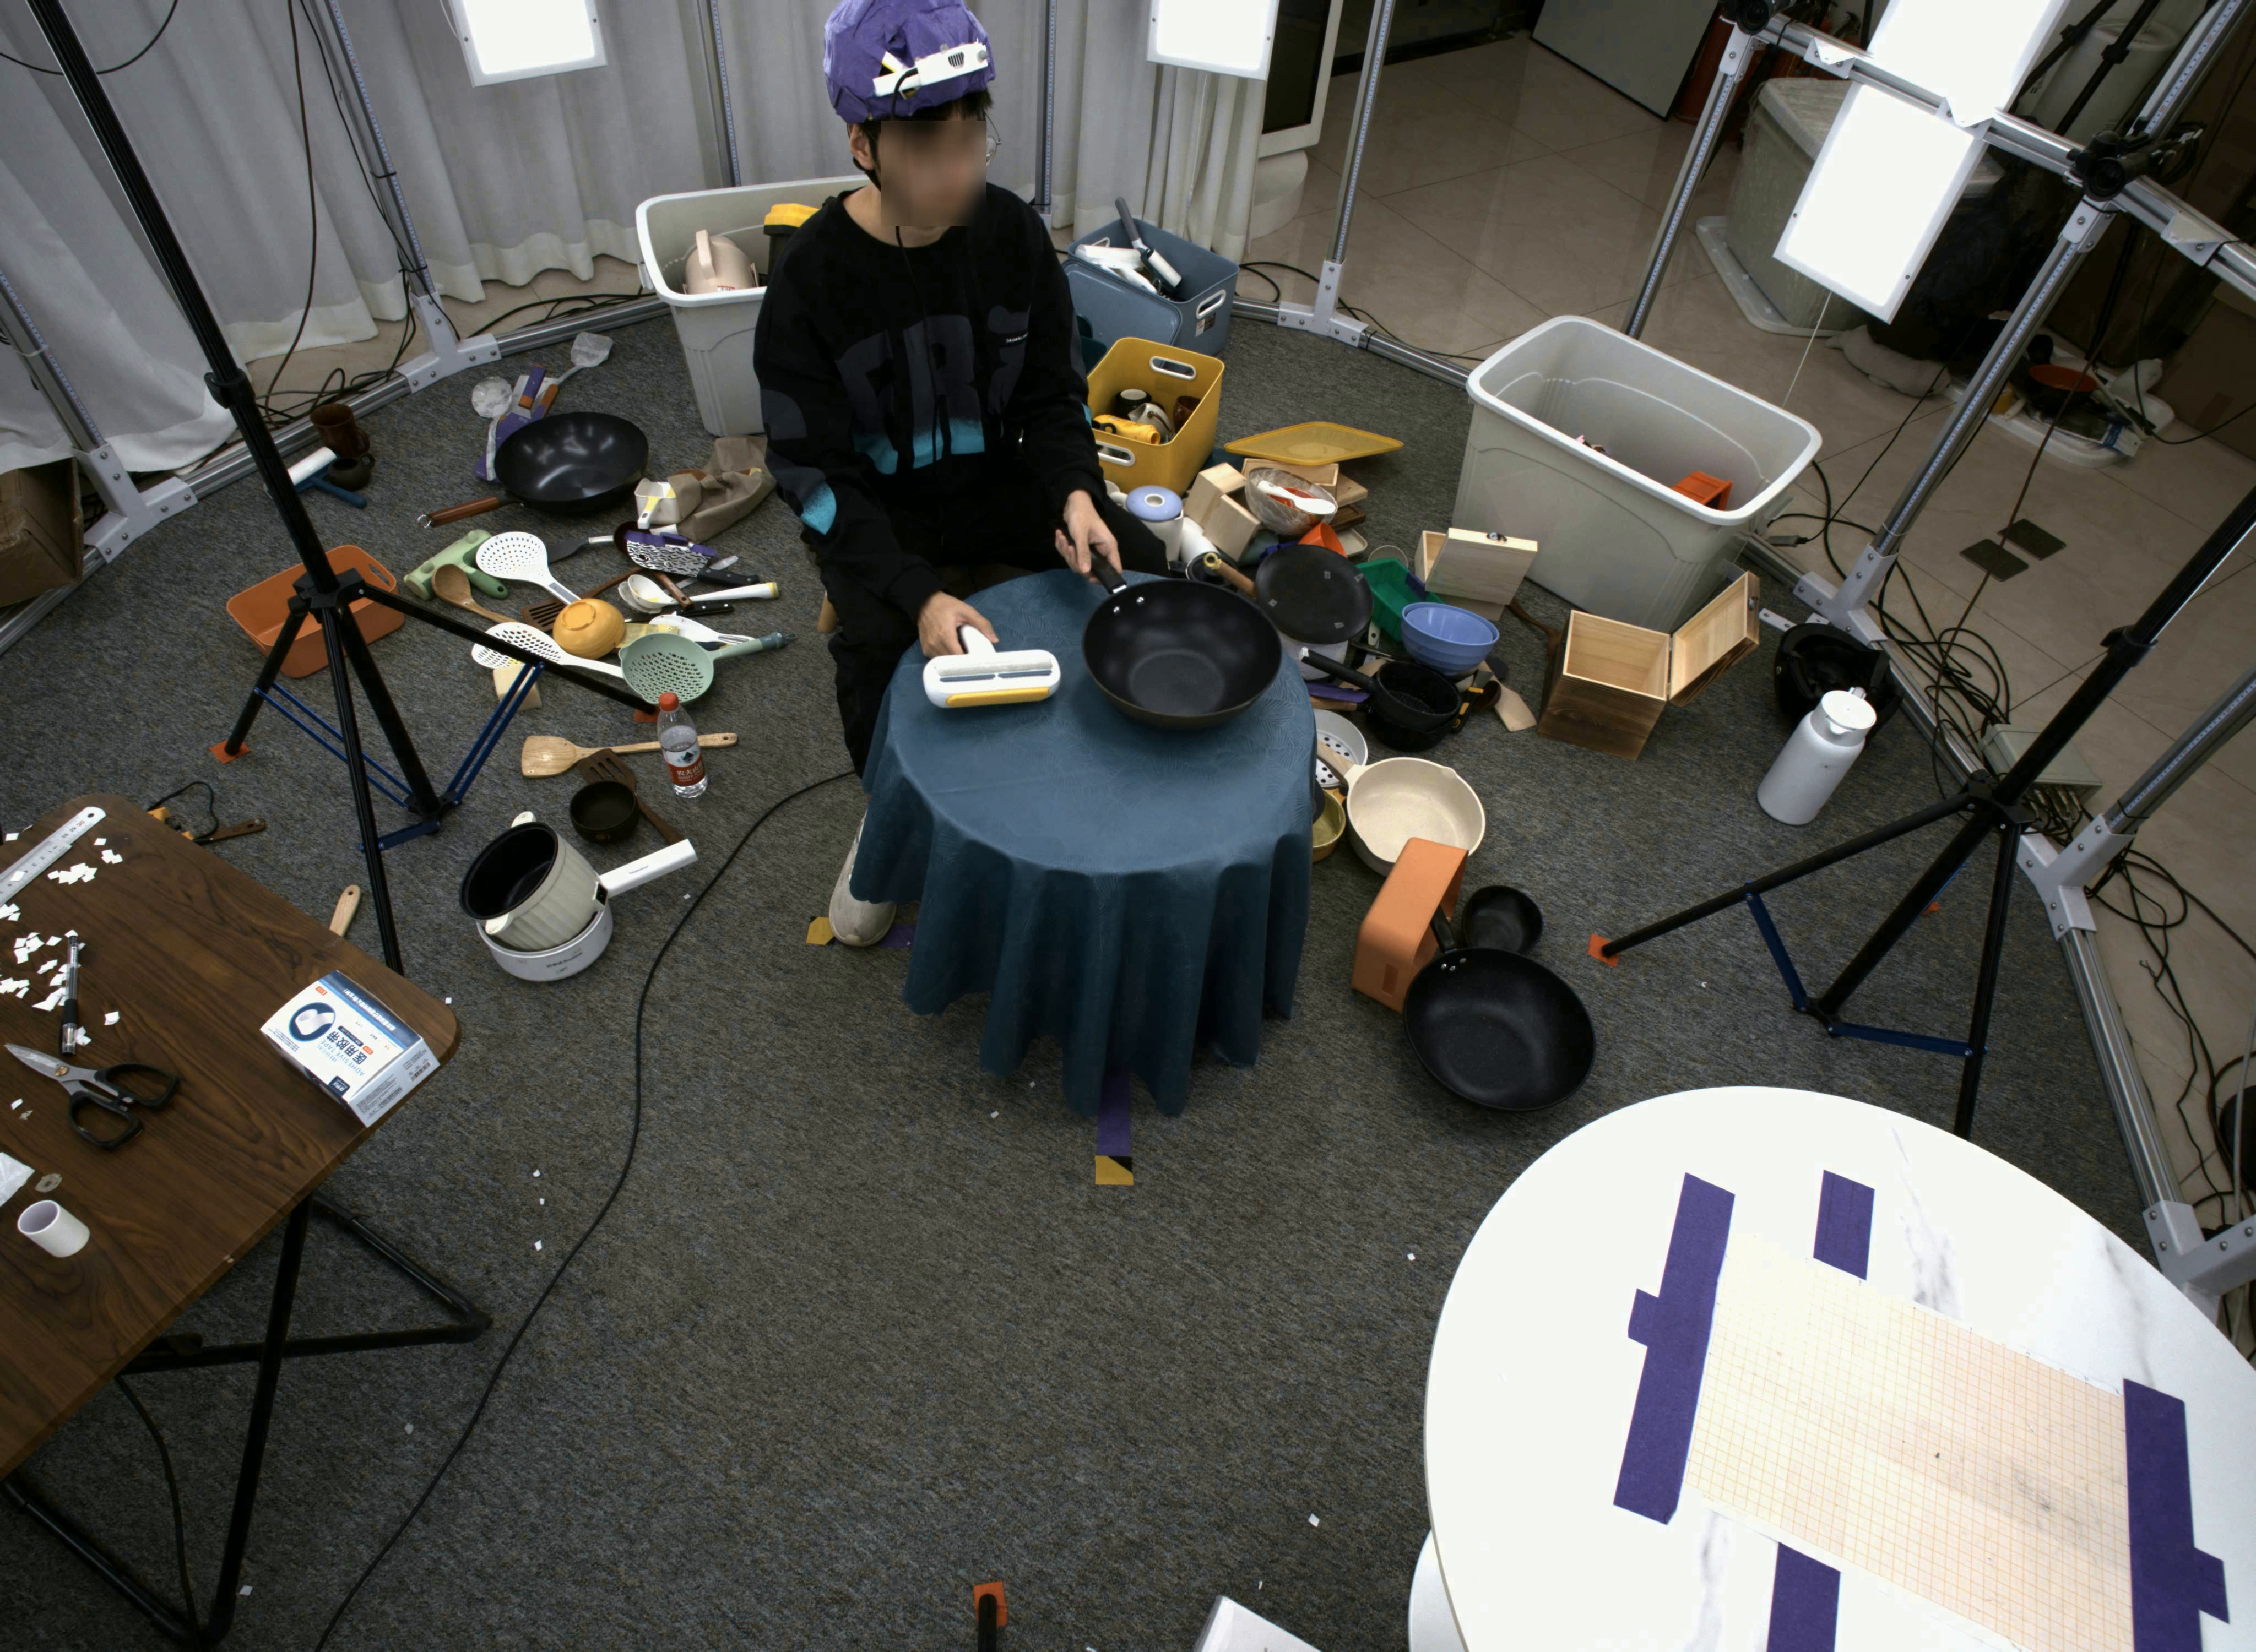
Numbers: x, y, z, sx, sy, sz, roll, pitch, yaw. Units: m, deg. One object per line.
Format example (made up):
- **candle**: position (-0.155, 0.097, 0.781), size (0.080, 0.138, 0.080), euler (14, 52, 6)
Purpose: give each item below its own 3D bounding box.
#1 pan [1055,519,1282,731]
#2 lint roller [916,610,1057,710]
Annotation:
- **pan**: position (0.020, -0.288, 1.864), size (0.289, 0.085, 0.472), euler (-26, 56, -24)
- **lint roller**: position (-0.209, -0.245, 1.815), size (0.192, 0.072, 0.197), euler (-6, 55, -16)
